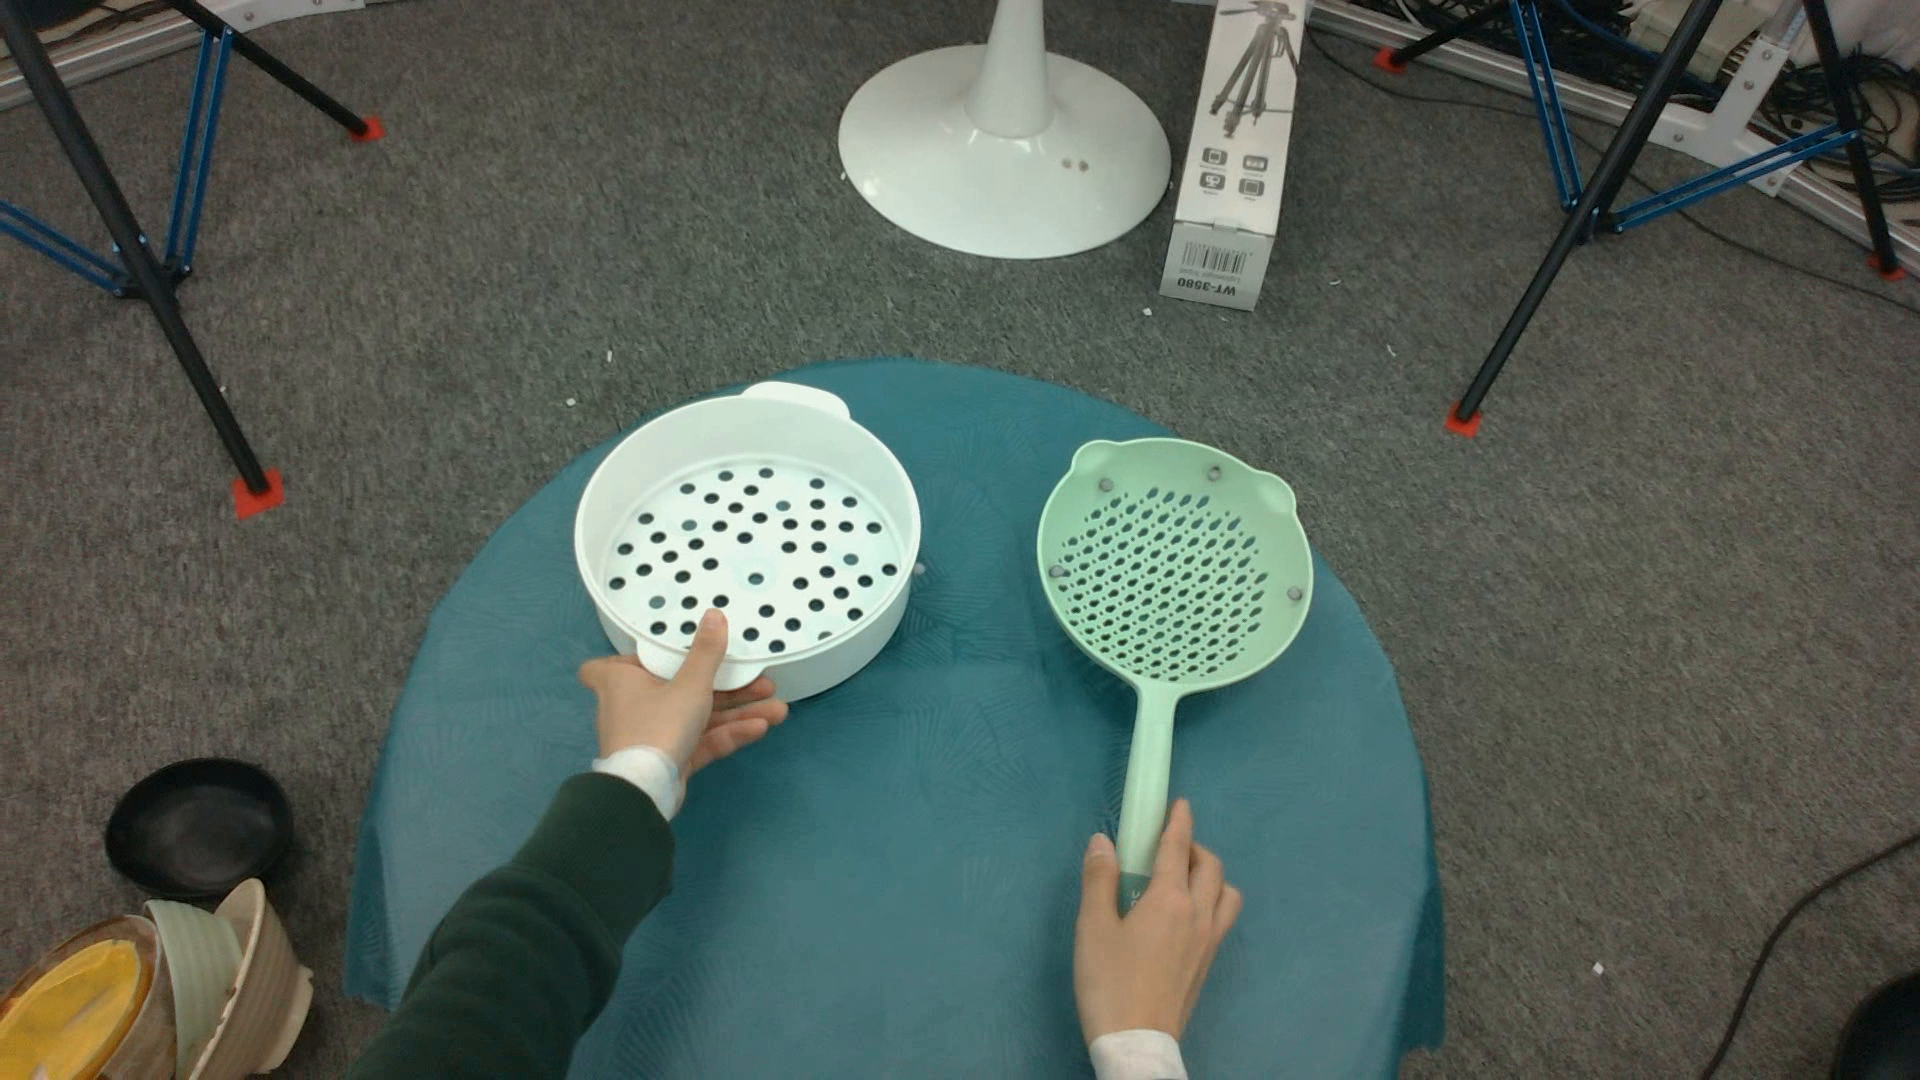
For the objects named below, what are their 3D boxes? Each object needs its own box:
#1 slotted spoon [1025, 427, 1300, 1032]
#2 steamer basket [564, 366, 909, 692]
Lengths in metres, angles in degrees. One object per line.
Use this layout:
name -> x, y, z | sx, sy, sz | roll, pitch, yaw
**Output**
slotted spoon -> 0.104, 0.093, 0.791 | 0.169, 0.075, 0.360 | 12, 53, 1
steamer basket -> -0.133, -0.003, 0.836 | 0.202, 0.069, 0.232 | 11, 53, 3
